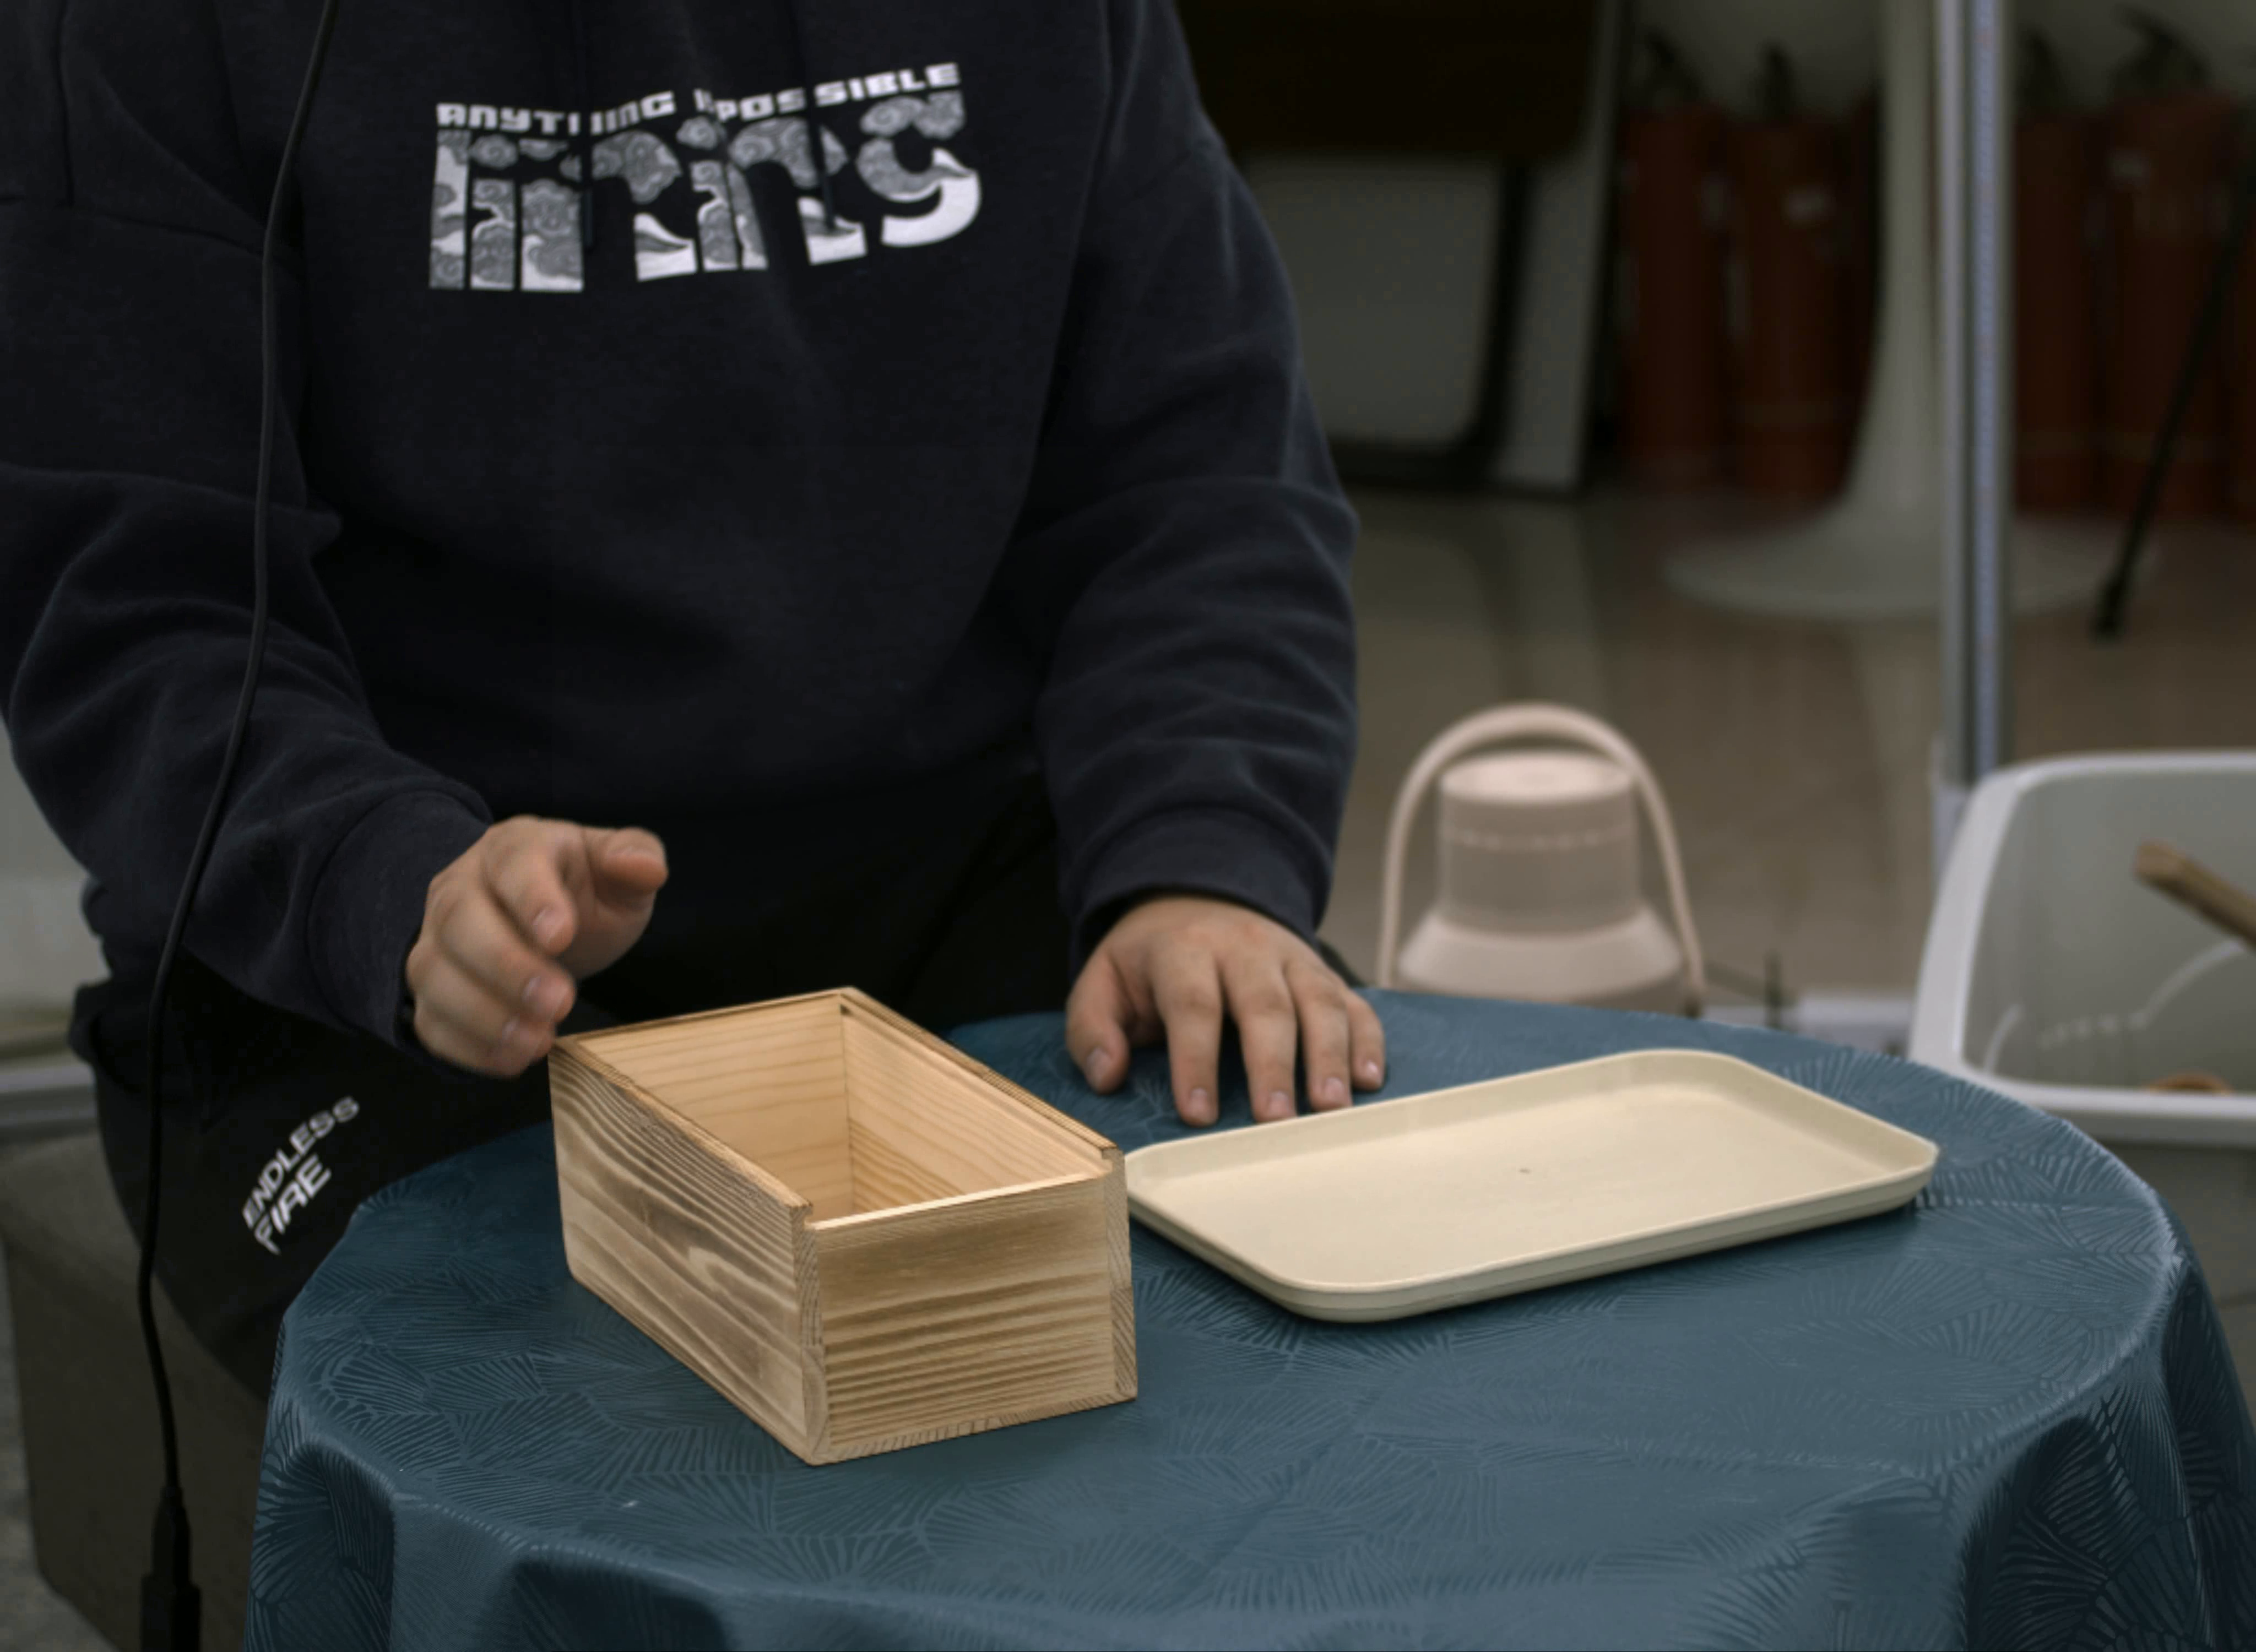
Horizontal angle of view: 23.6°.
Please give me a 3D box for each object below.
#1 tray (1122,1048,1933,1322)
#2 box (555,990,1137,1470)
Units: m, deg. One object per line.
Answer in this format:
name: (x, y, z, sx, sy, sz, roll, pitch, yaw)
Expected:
tray: (0.126, 0.115, 1.729, 0.234, 0.017, 0.173, -10, 14, -24)
box: (-0.089, 0.118, 1.644, 0.105, 0.081, 0.213, -9, 14, -23)
